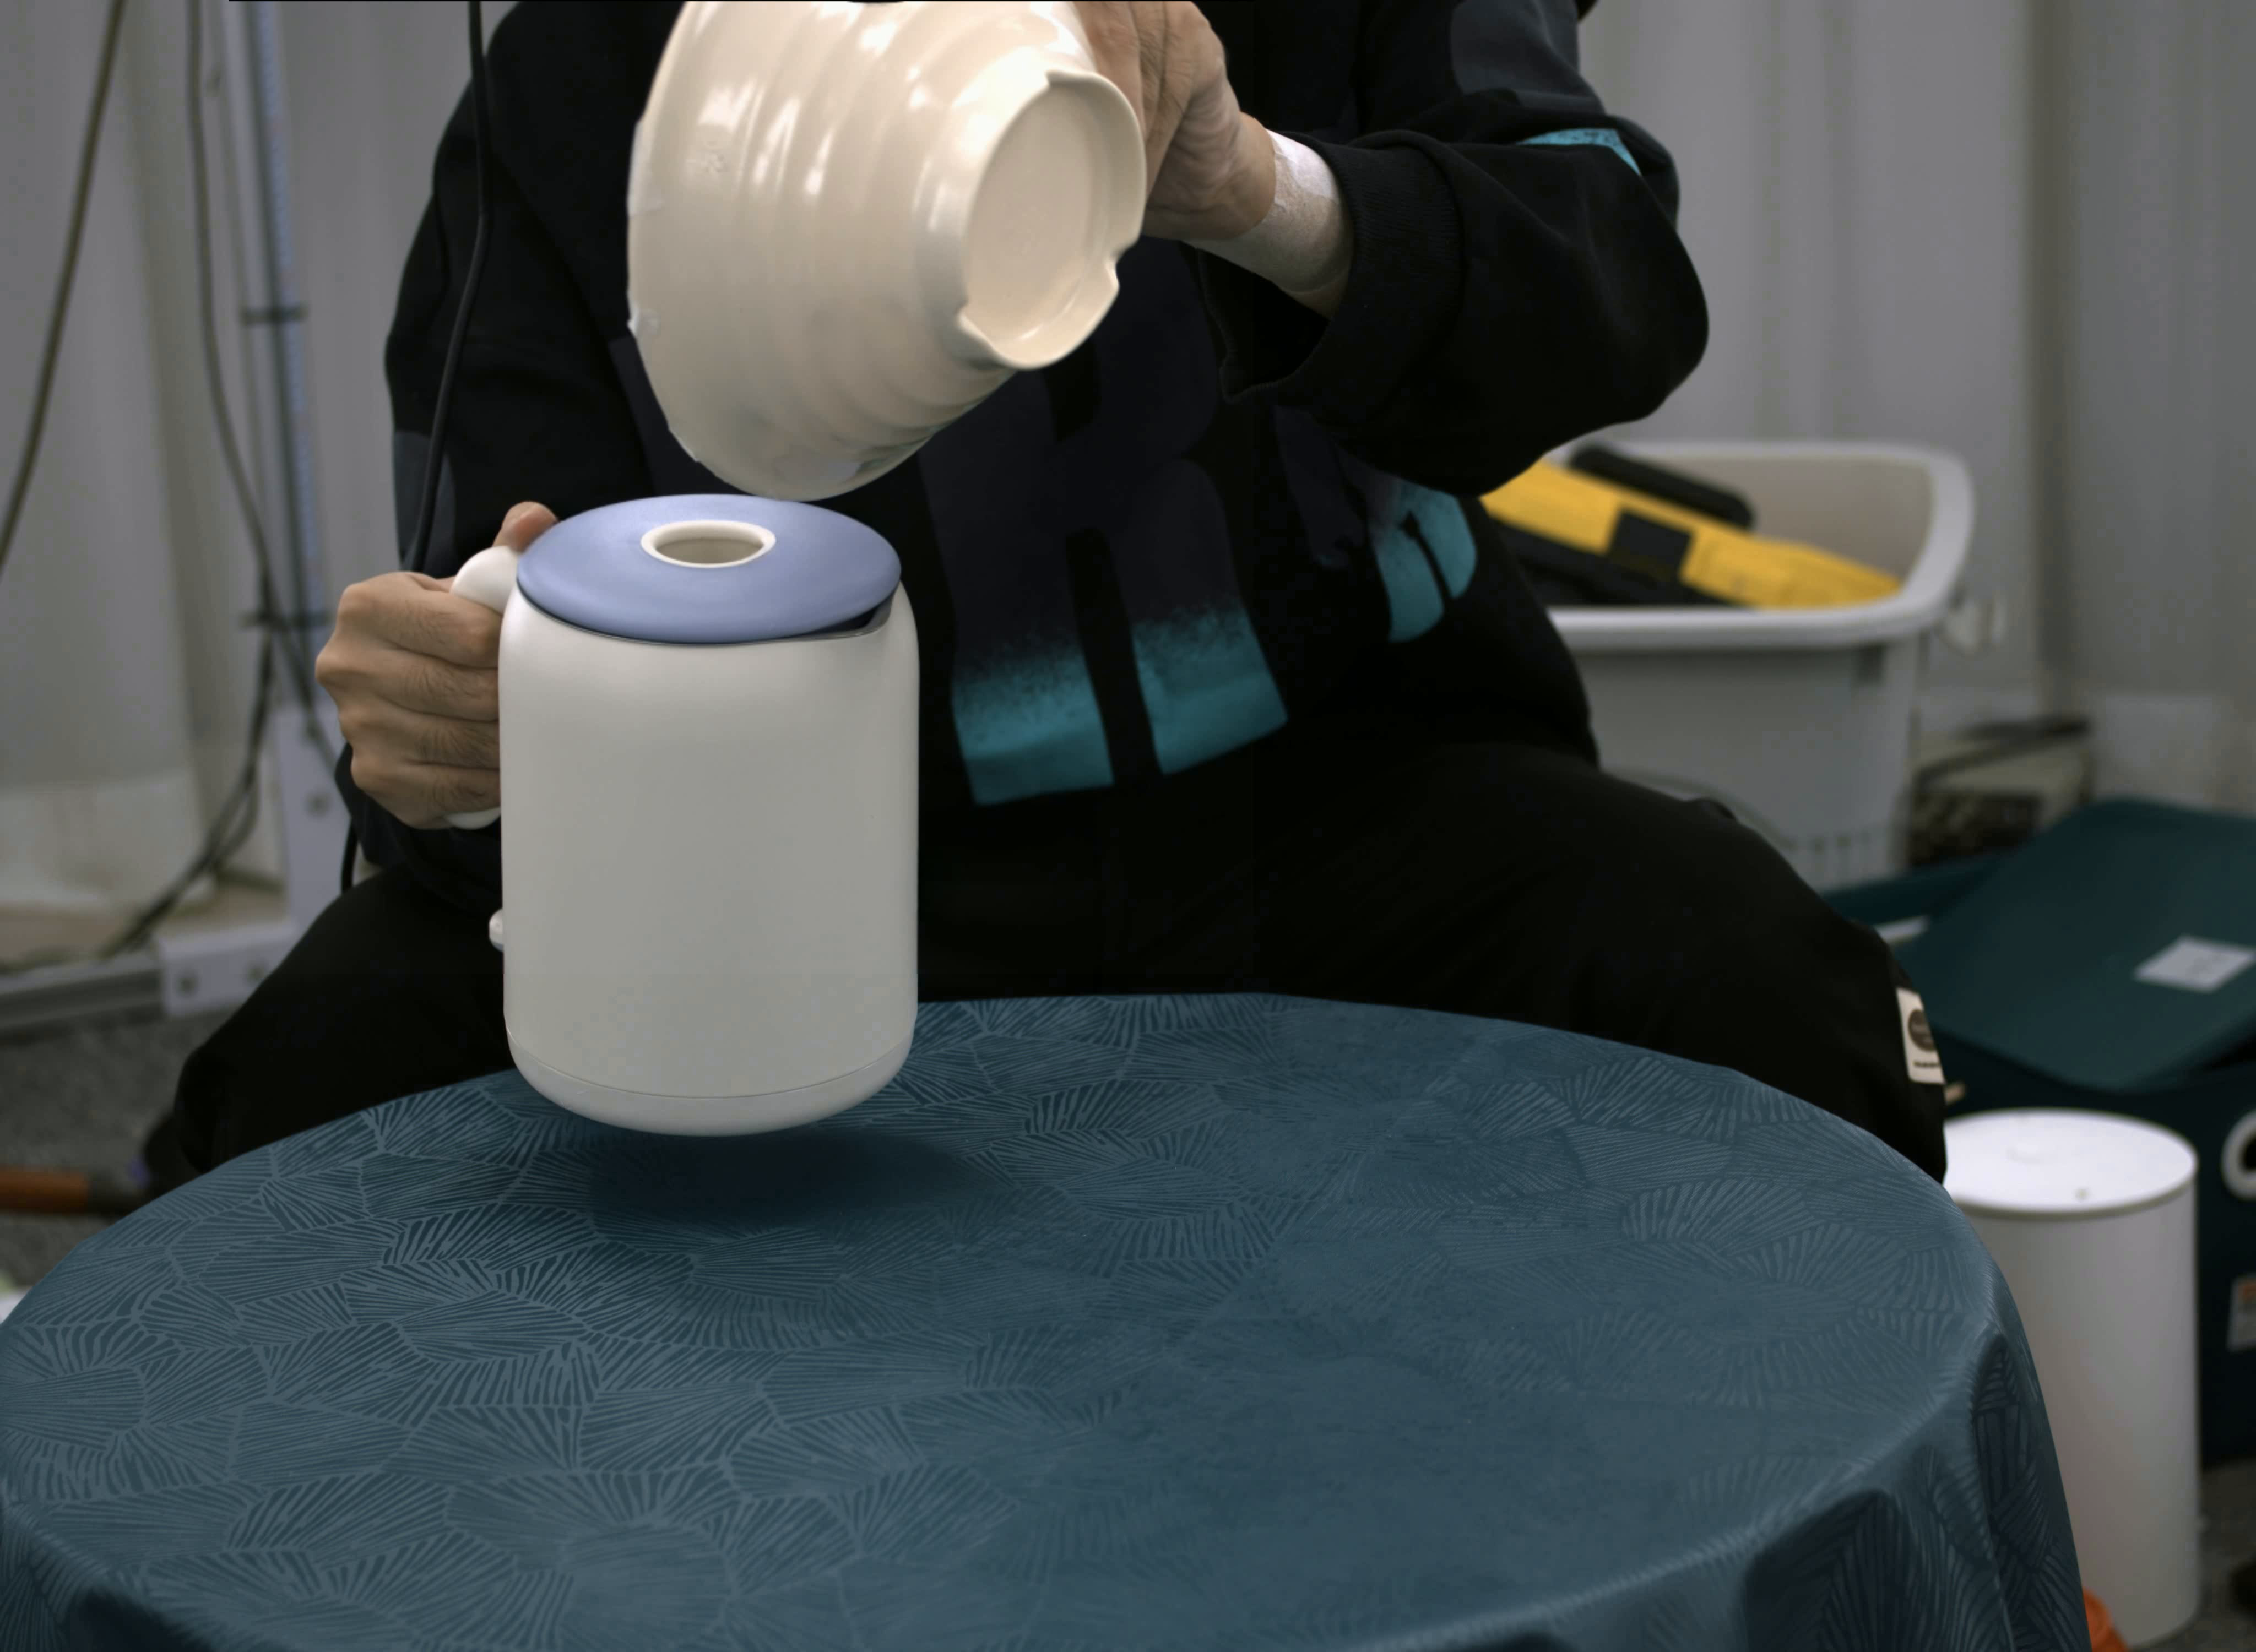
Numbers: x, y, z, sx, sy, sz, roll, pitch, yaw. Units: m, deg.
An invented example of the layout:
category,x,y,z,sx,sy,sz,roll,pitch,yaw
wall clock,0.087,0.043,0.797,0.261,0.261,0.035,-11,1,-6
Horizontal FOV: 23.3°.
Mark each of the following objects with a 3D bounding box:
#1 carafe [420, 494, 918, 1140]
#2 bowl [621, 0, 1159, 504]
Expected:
category,x,y,z,sx,sy,sz,roll,pitch,yaw
carafe,-0.151,-0.009,1.728,0.192,0.181,0.132,14,24,35
bowl,-0.048,-0.182,1.589,0.078,0.203,0.204,21,26,37
